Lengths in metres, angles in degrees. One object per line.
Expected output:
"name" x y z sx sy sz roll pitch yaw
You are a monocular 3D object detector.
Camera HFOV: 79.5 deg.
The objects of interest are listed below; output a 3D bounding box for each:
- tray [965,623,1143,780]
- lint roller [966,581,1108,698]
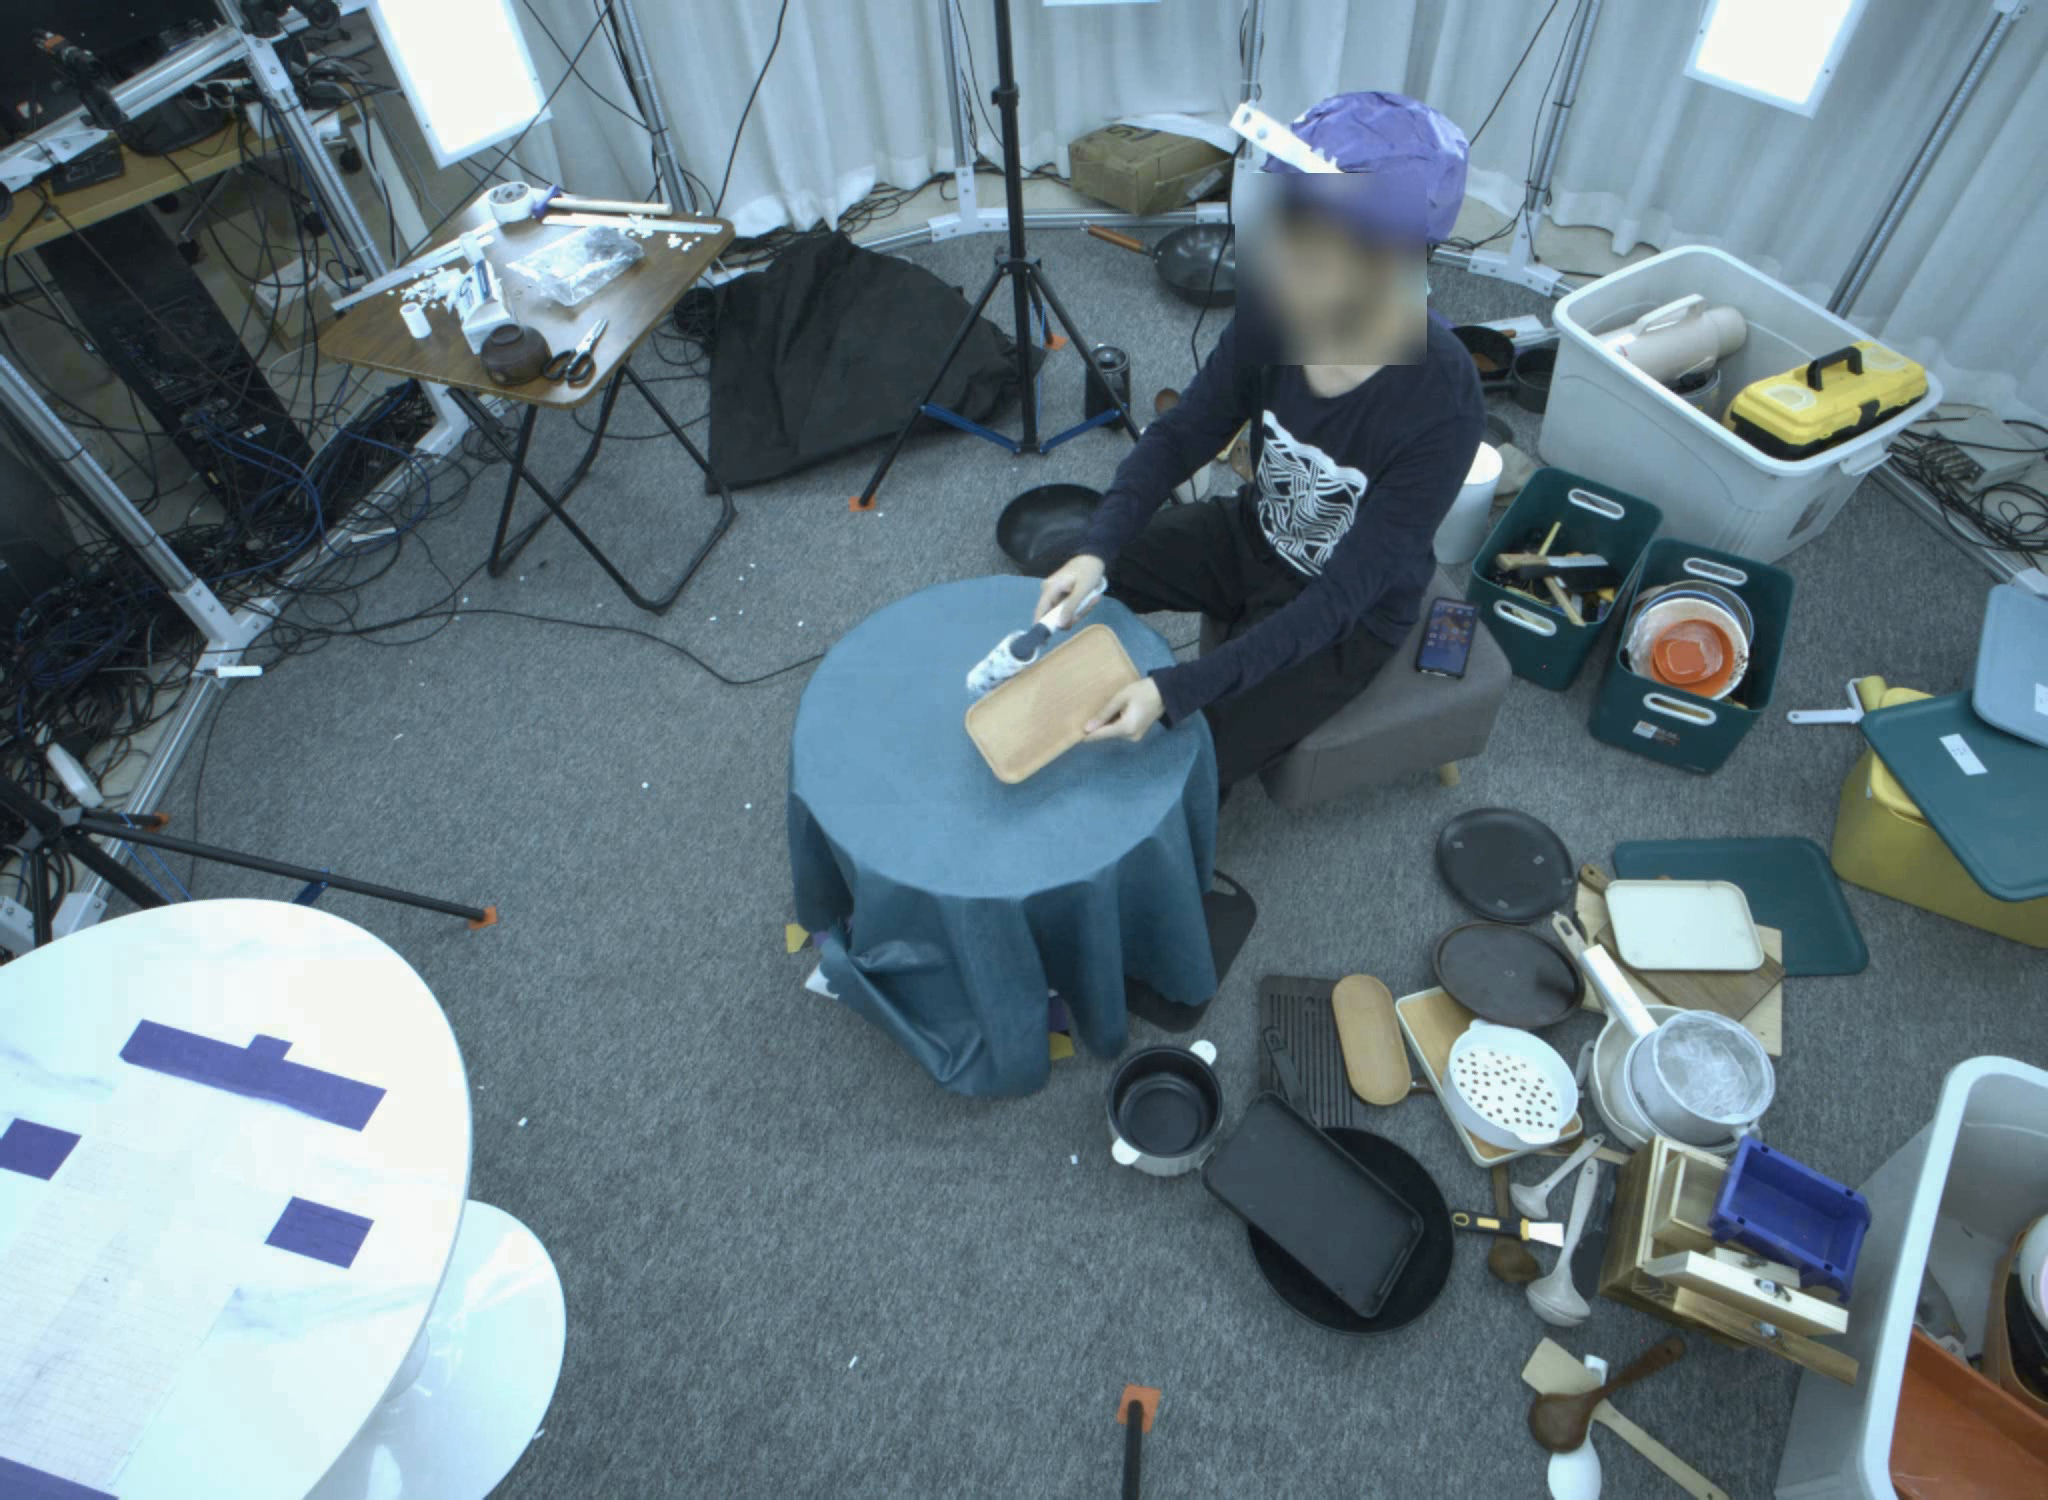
"tray" 0.043 -0.068 1.719 0.252 0.132 0.022 -33 17 -13
"lint roller" 0.029 -0.178 1.772 0.050 0.174 0.249 49 63 -2
